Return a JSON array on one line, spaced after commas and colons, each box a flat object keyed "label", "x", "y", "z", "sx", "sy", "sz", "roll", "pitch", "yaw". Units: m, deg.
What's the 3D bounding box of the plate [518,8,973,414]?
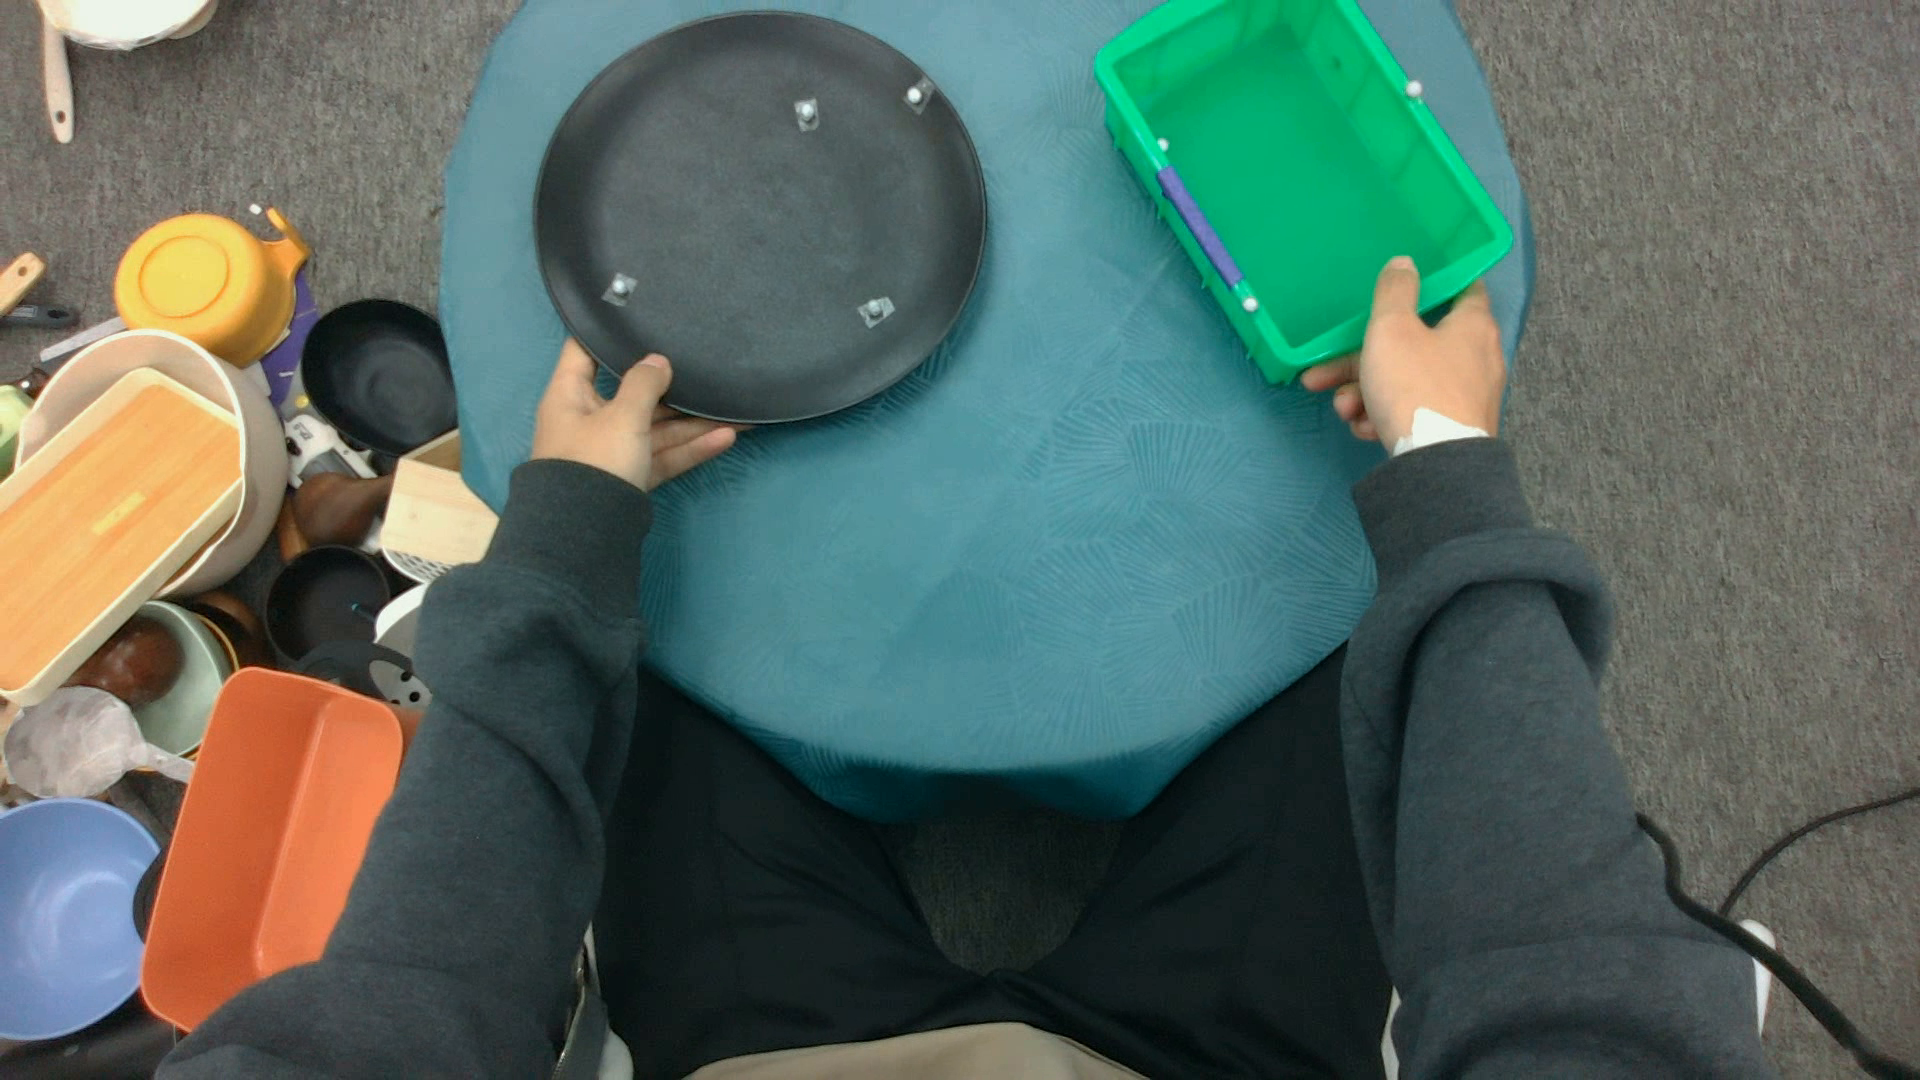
[{"label": "plate", "x": -0.115, "y": -0.179, "z": 0.751, "sx": 0.244, "sy": 0.023, "sz": 0.245, "roll": 0, "pitch": 74, "yaw": -1}]

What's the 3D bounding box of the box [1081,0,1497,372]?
[{"label": "box", "x": 0.169, "y": -0.200, "z": 0.738, "sx": 0.139, "sy": 0.065, "sz": 0.210, "roll": -31, "pitch": 82, "yaw": -4}]
